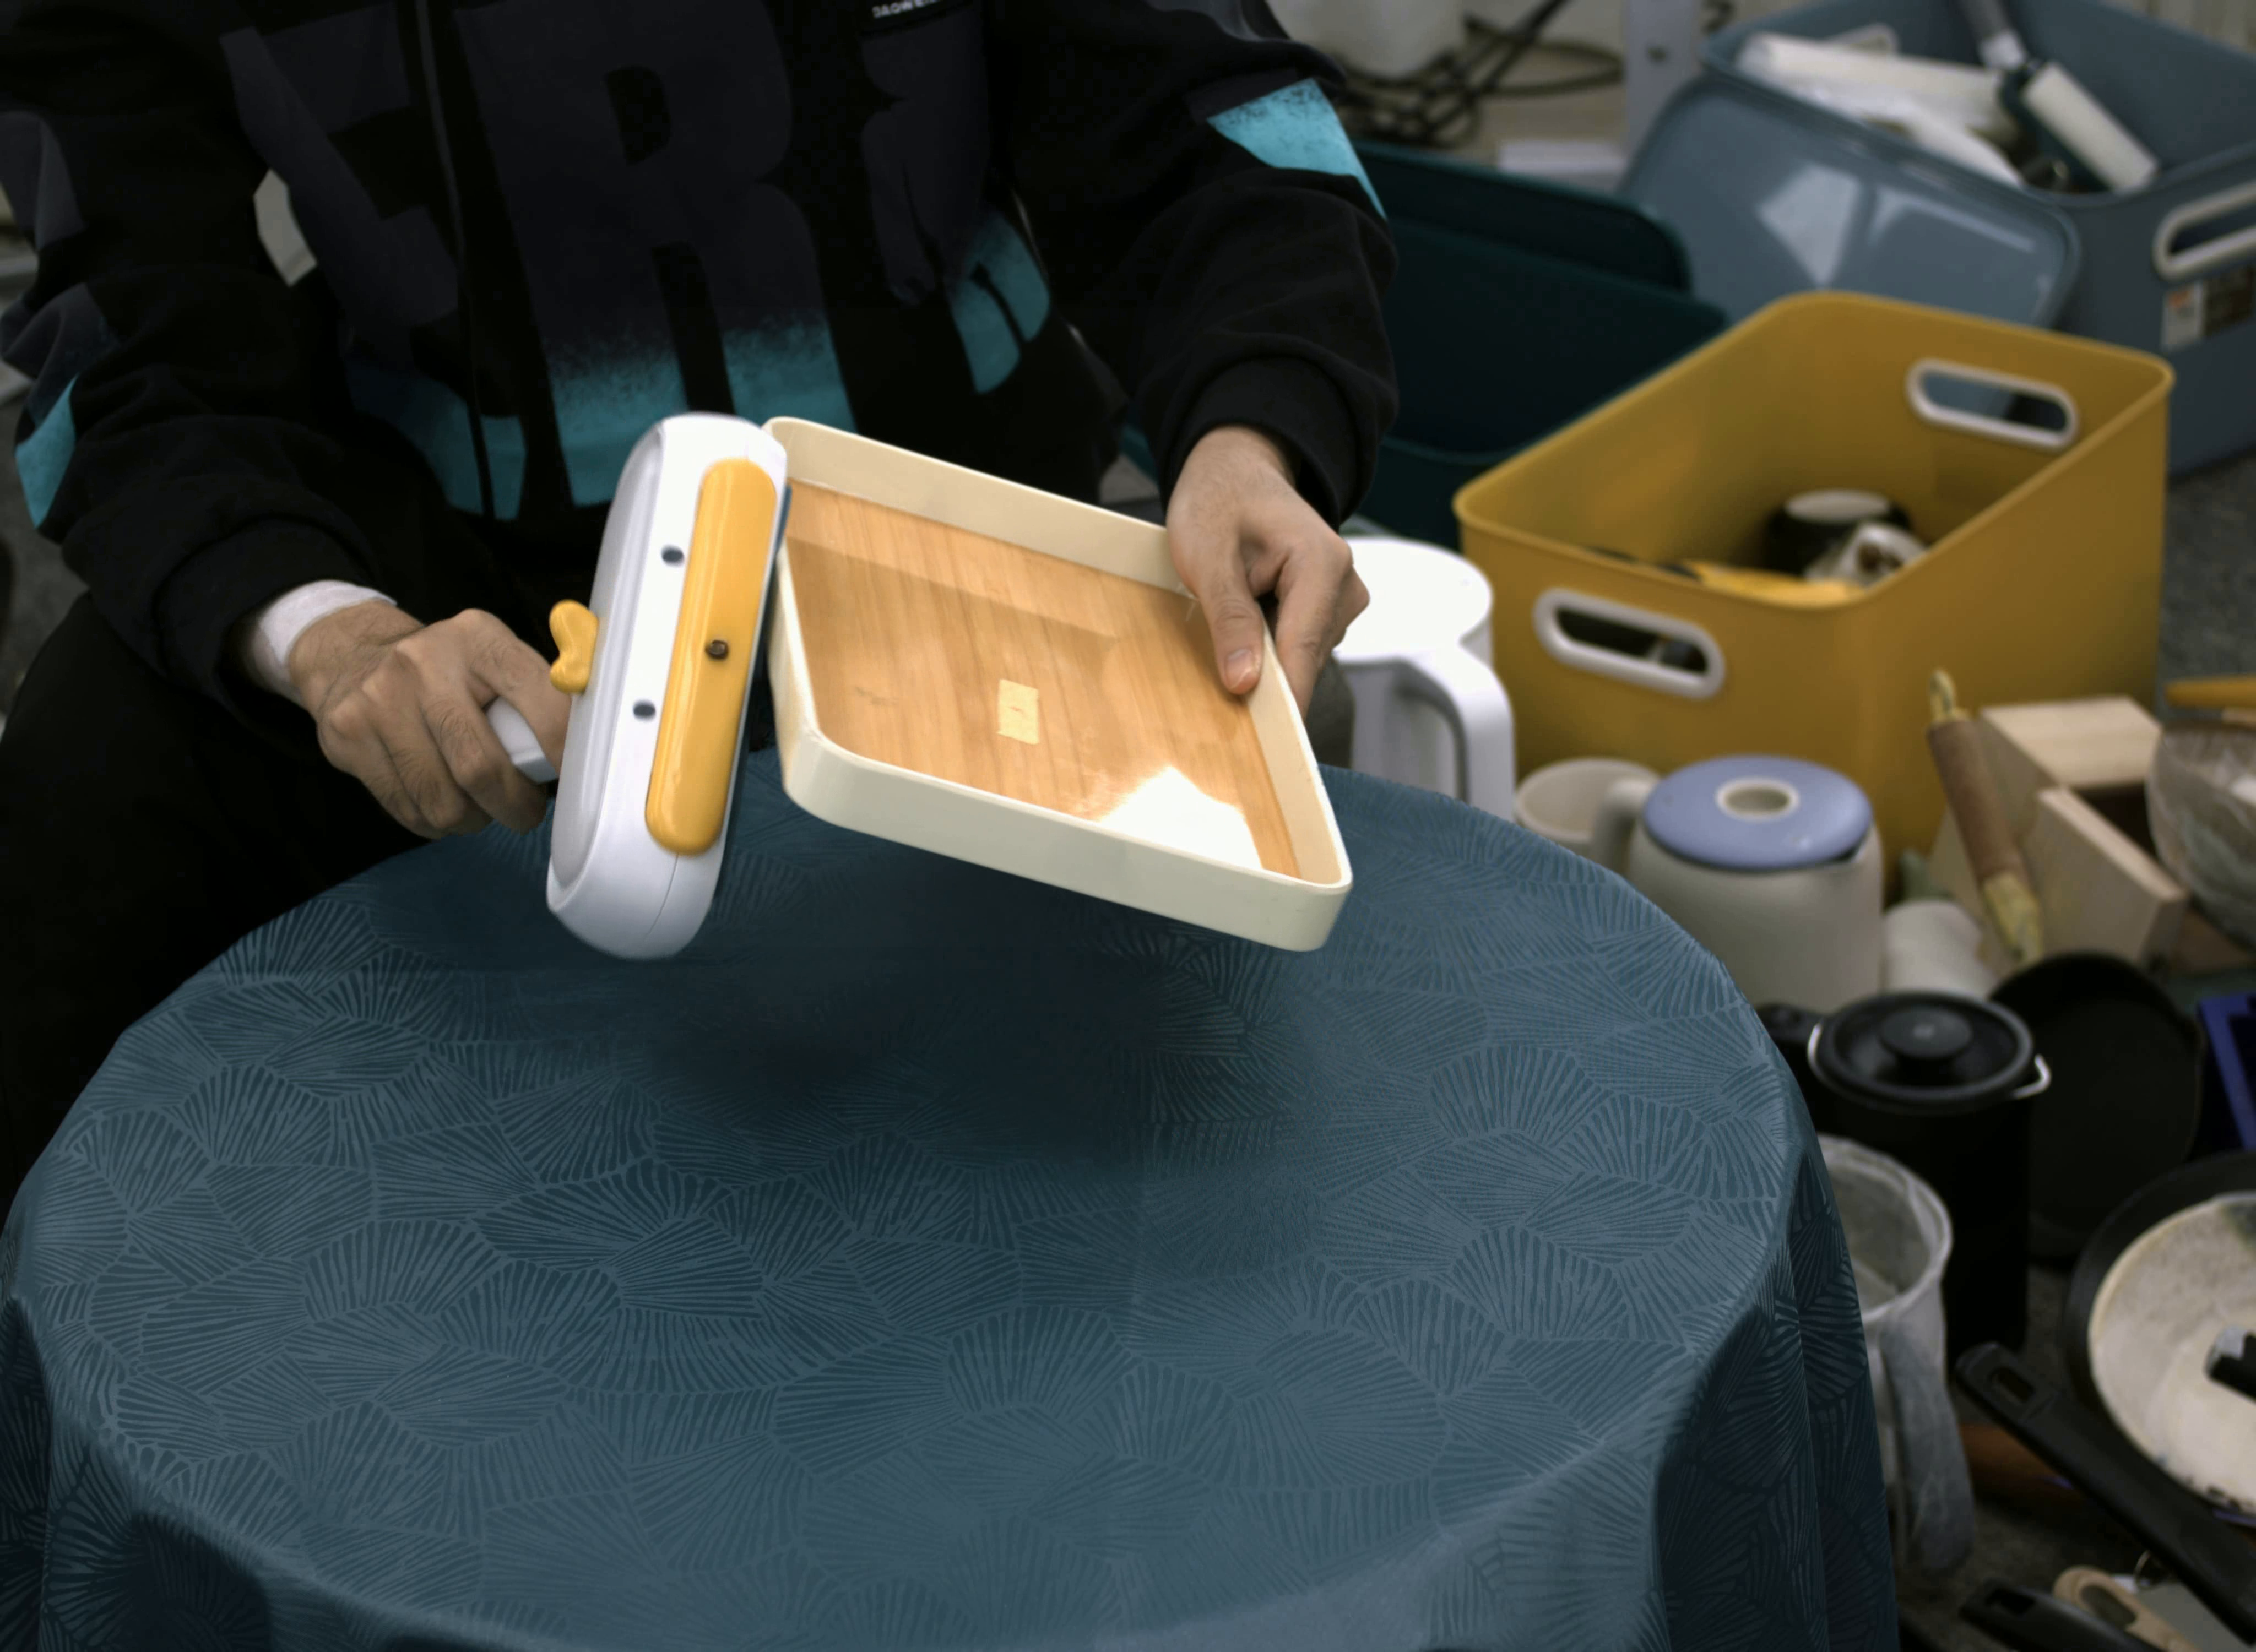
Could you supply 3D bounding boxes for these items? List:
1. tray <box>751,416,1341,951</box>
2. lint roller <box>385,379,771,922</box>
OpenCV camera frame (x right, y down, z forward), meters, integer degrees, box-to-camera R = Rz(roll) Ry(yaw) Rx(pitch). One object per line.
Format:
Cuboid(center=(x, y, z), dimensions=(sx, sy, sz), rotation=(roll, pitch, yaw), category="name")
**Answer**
Cuboid(center=(-0.035, -0.053, 1.939), dimensions=(0.191, 0.027, 0.304), rotation=(17, 21, -13), category="tray")
Cuboid(center=(-0.192, -0.042, 1.948), dimensions=(0.074, 0.189, 0.196), rotation=(15, 61, -28), category="lint roller")
